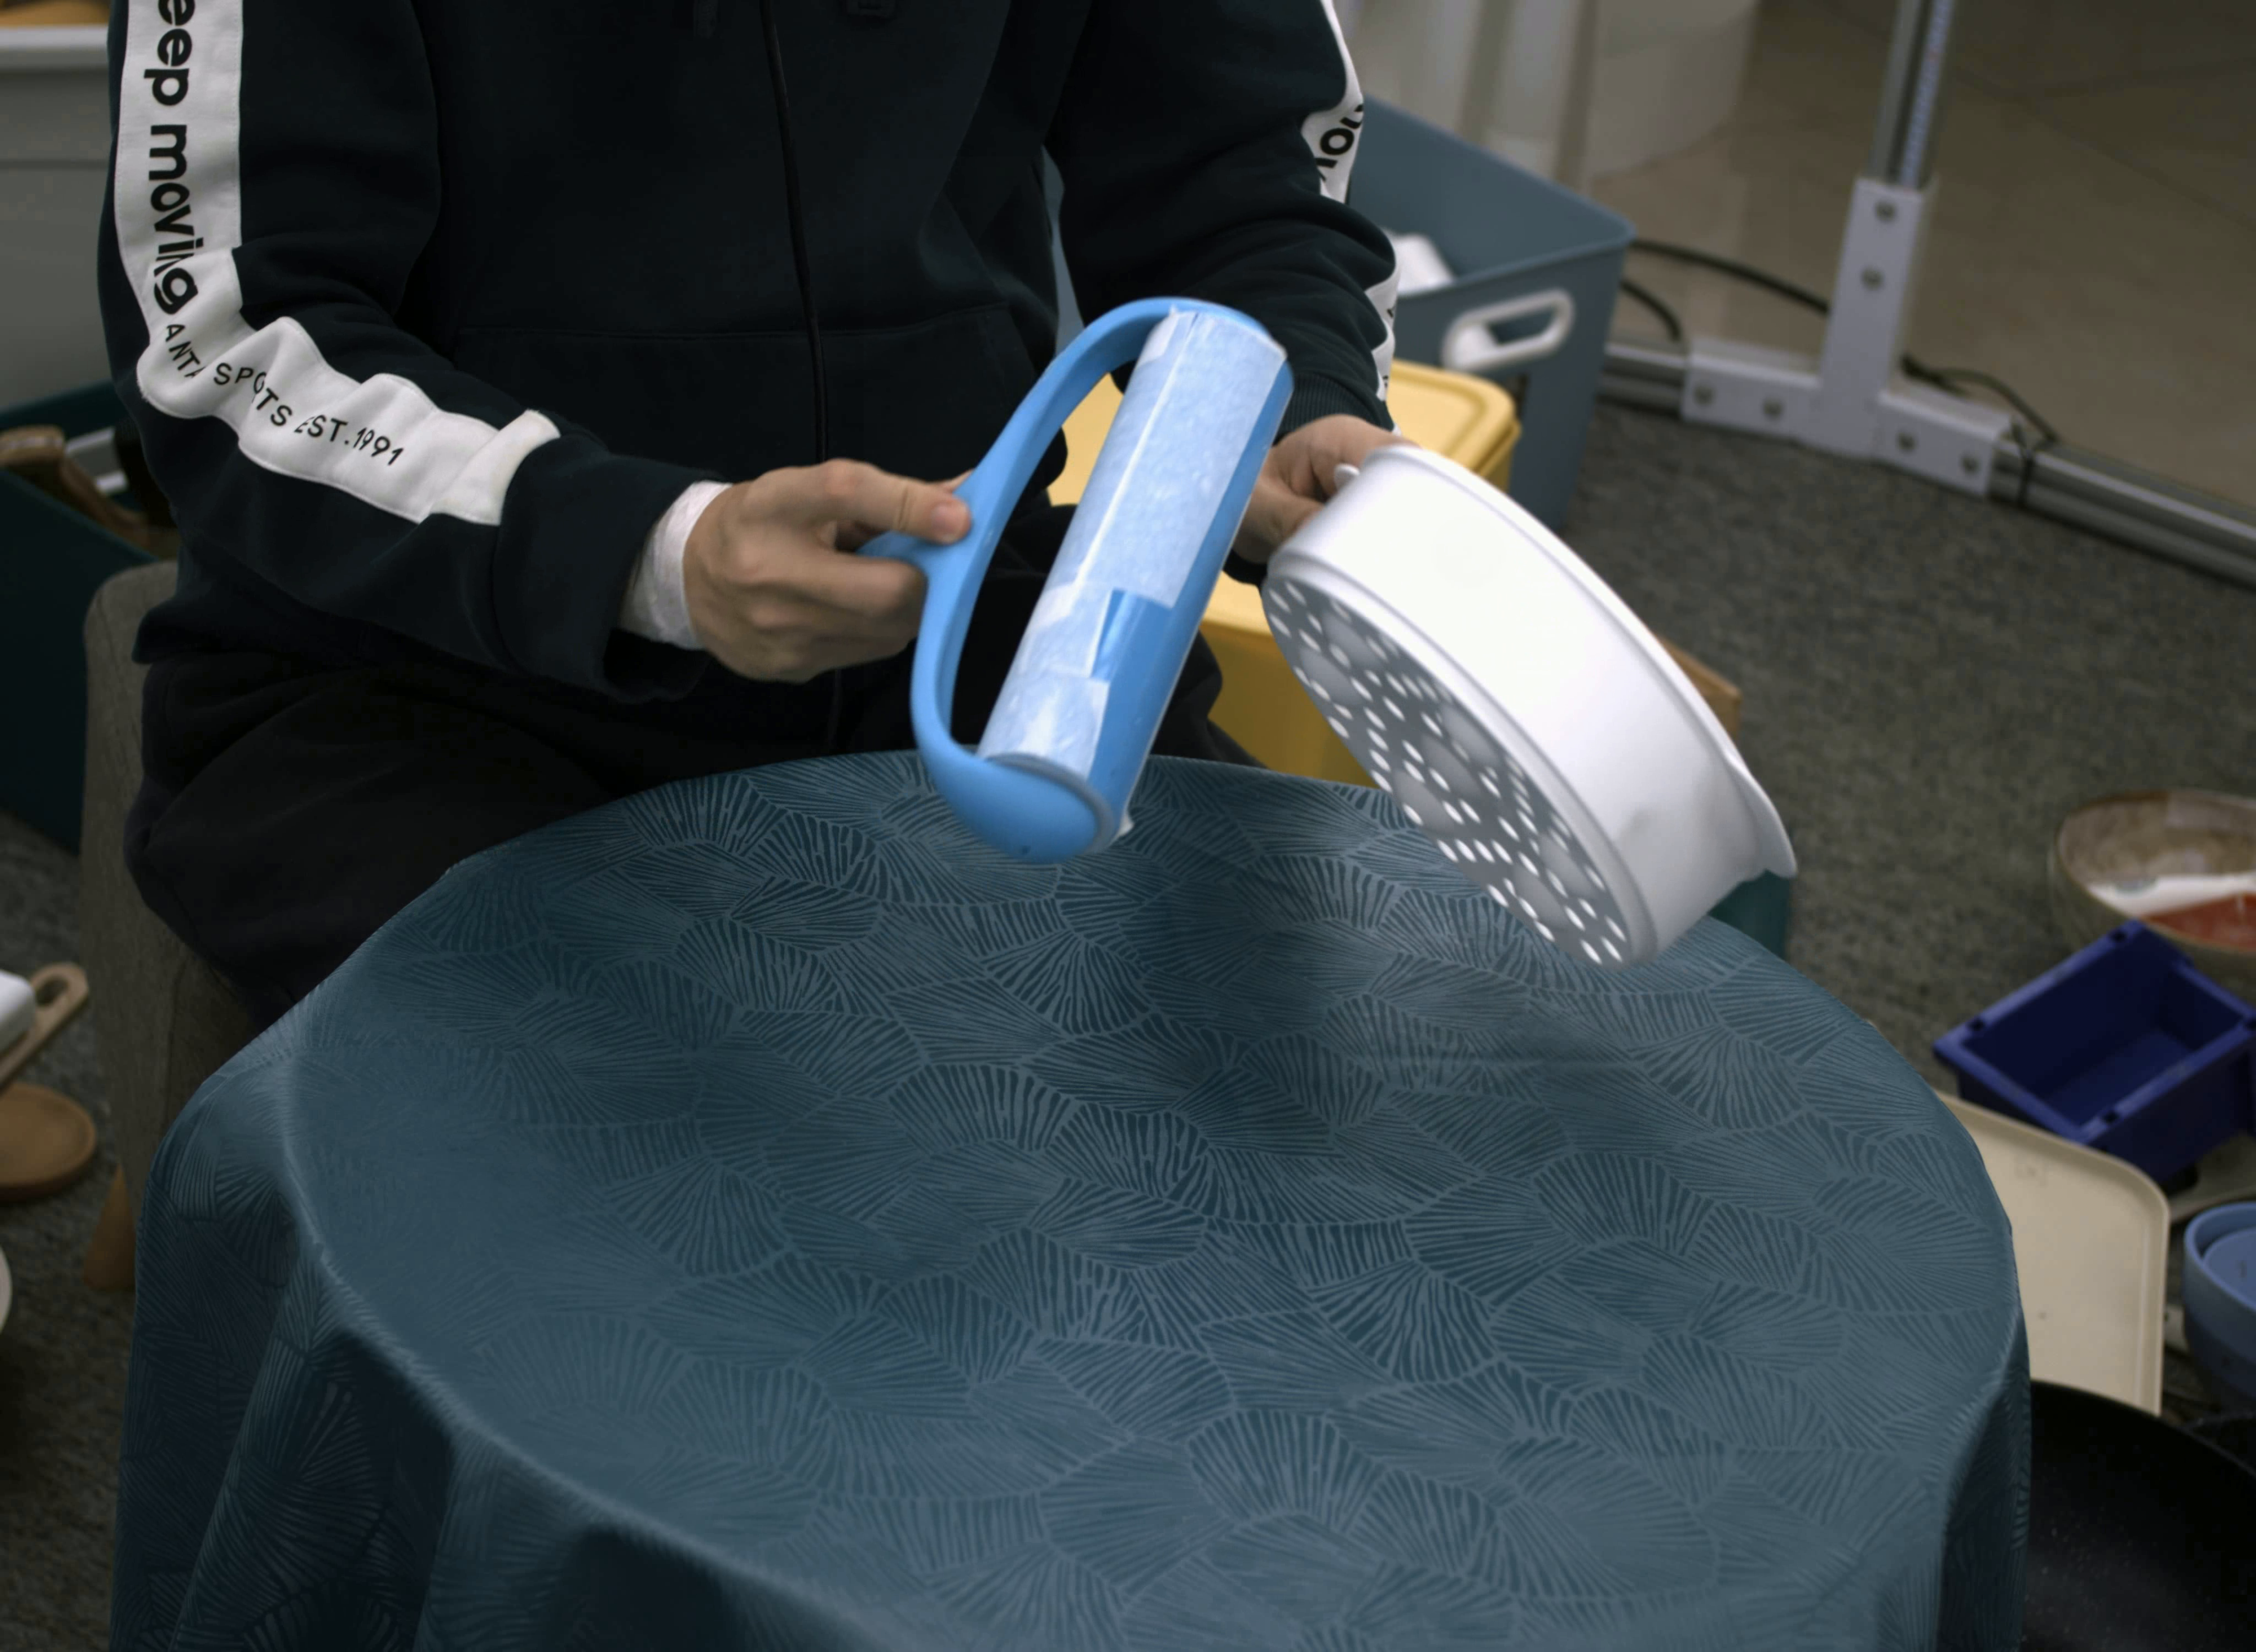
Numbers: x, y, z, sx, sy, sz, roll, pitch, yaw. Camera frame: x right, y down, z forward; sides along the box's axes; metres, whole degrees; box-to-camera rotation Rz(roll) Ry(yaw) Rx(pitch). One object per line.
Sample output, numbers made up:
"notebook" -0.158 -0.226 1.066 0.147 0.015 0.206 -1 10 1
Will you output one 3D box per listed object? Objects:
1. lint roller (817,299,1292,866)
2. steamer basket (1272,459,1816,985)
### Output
"lint roller" -0.046 -0.078 1.821 0.181 0.067 0.230 -7 51 32
"steamer basket" 0.135 -0.032 1.848 0.069 0.200 0.232 -43 55 -11
